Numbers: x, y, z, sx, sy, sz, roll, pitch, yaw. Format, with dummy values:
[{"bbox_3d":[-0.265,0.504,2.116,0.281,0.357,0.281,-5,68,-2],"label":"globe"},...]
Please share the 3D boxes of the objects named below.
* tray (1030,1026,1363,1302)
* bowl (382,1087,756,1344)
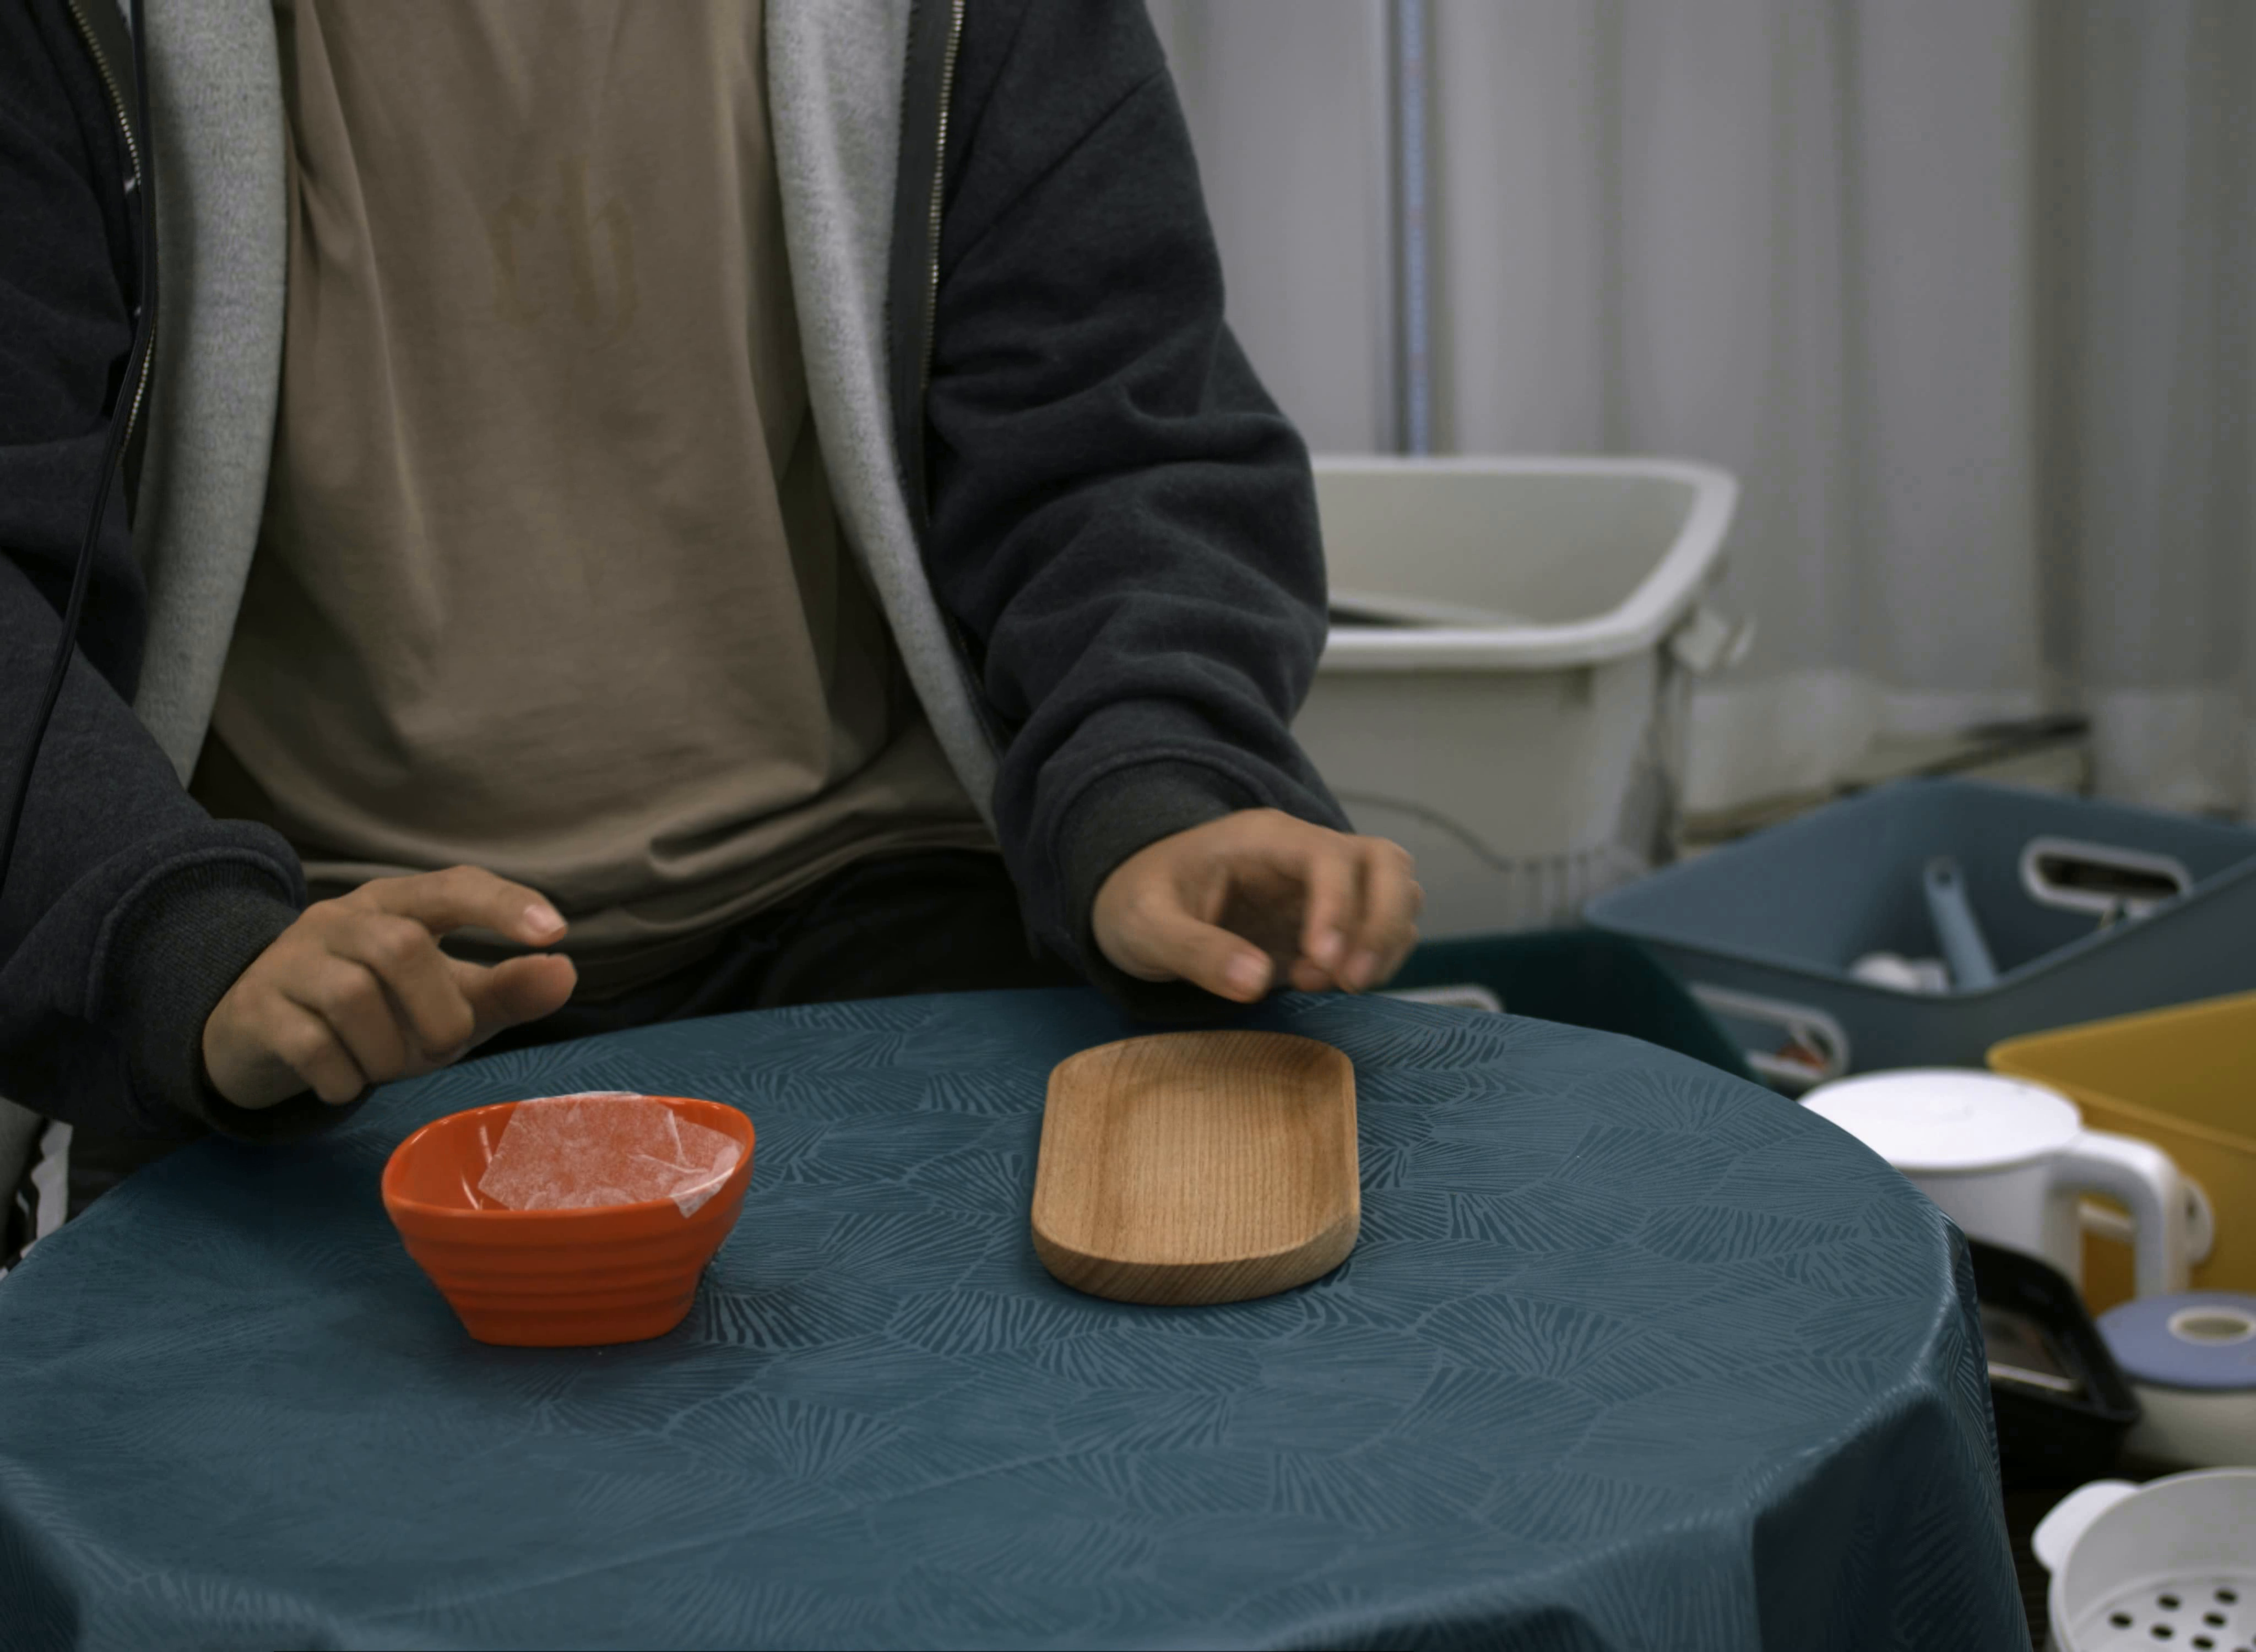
[{"bbox_3d":[0.021,0.104,1.720,0.101,0.020,0.232,-2,14,0],"label":"tray"},{"bbox_3d":[-0.164,0.119,1.630,0.118,0.051,0.120,-4,16,1],"label":"bowl"}]
